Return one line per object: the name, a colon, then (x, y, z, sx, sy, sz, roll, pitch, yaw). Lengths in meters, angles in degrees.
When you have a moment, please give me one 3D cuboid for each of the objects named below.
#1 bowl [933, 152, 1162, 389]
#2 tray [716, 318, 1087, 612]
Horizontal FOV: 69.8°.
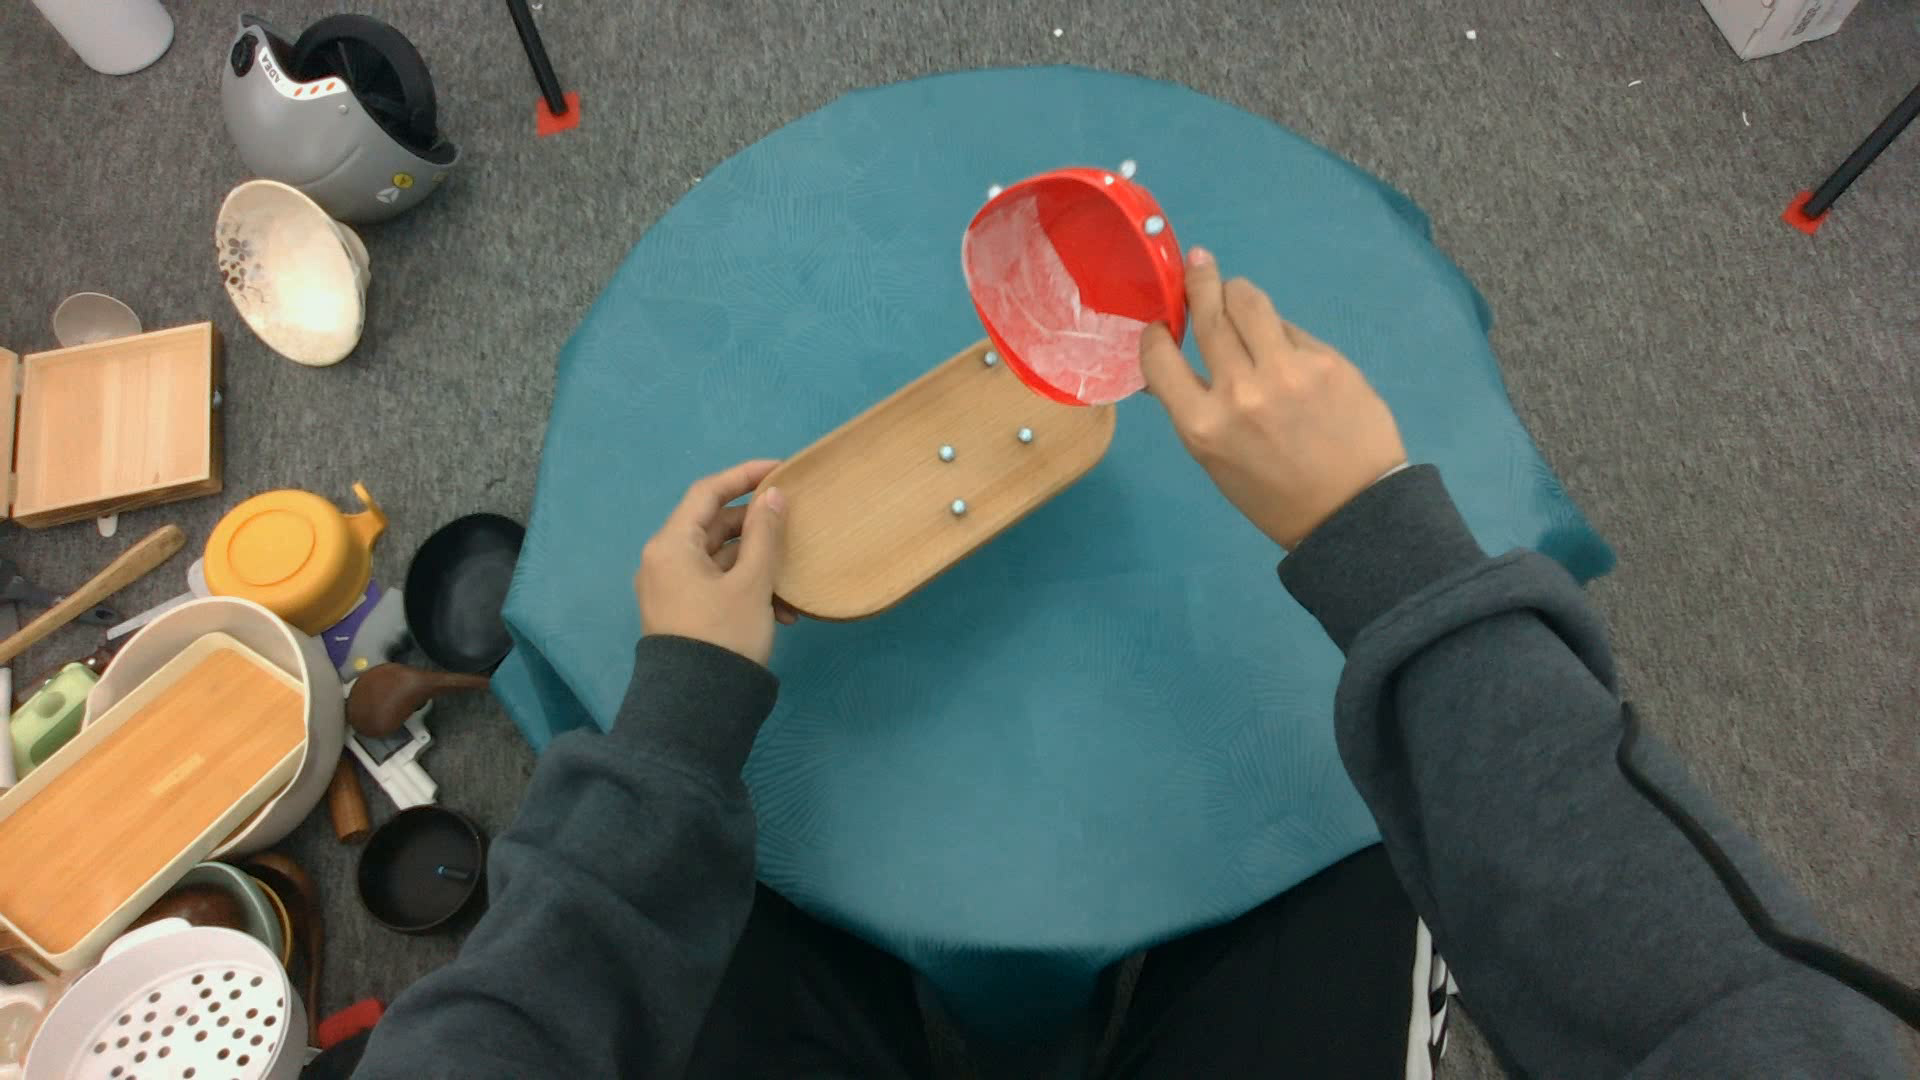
bowl: (0.050, -0.132, 0.653, 0.119, 0.118, 0.051, 35, 46, 15)
tray: (-0.028, -0.045, 0.747, 0.232, 0.020, 0.102, -37, 73, -22)
